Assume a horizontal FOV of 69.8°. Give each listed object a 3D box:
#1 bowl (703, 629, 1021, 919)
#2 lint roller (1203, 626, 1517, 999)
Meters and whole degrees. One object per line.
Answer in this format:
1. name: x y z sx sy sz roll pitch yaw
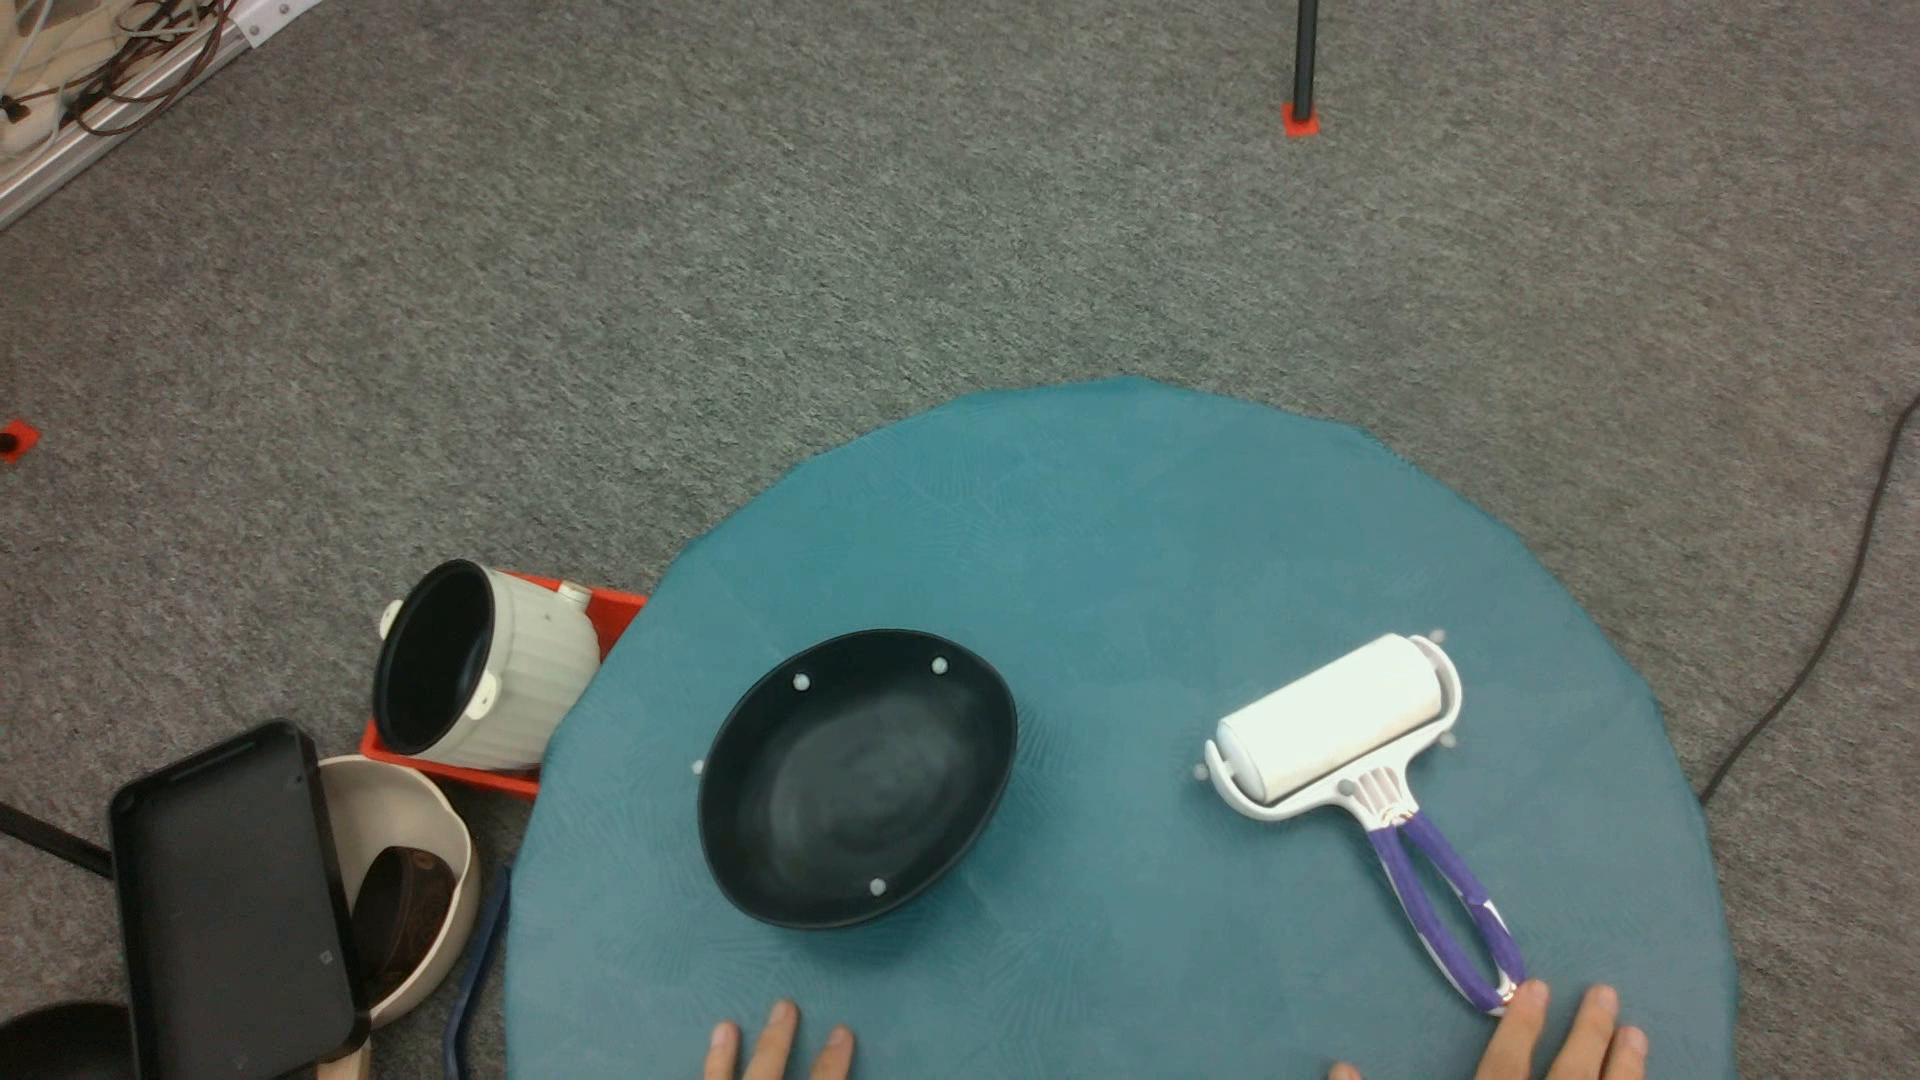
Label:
1. bowl: -0.047 0.122 0.704 0.171 0.066 0.137 -39 66 -15
2. lint roller: 0.212 0.138 0.673 0.133 0.050 0.181 -24 60 -7
